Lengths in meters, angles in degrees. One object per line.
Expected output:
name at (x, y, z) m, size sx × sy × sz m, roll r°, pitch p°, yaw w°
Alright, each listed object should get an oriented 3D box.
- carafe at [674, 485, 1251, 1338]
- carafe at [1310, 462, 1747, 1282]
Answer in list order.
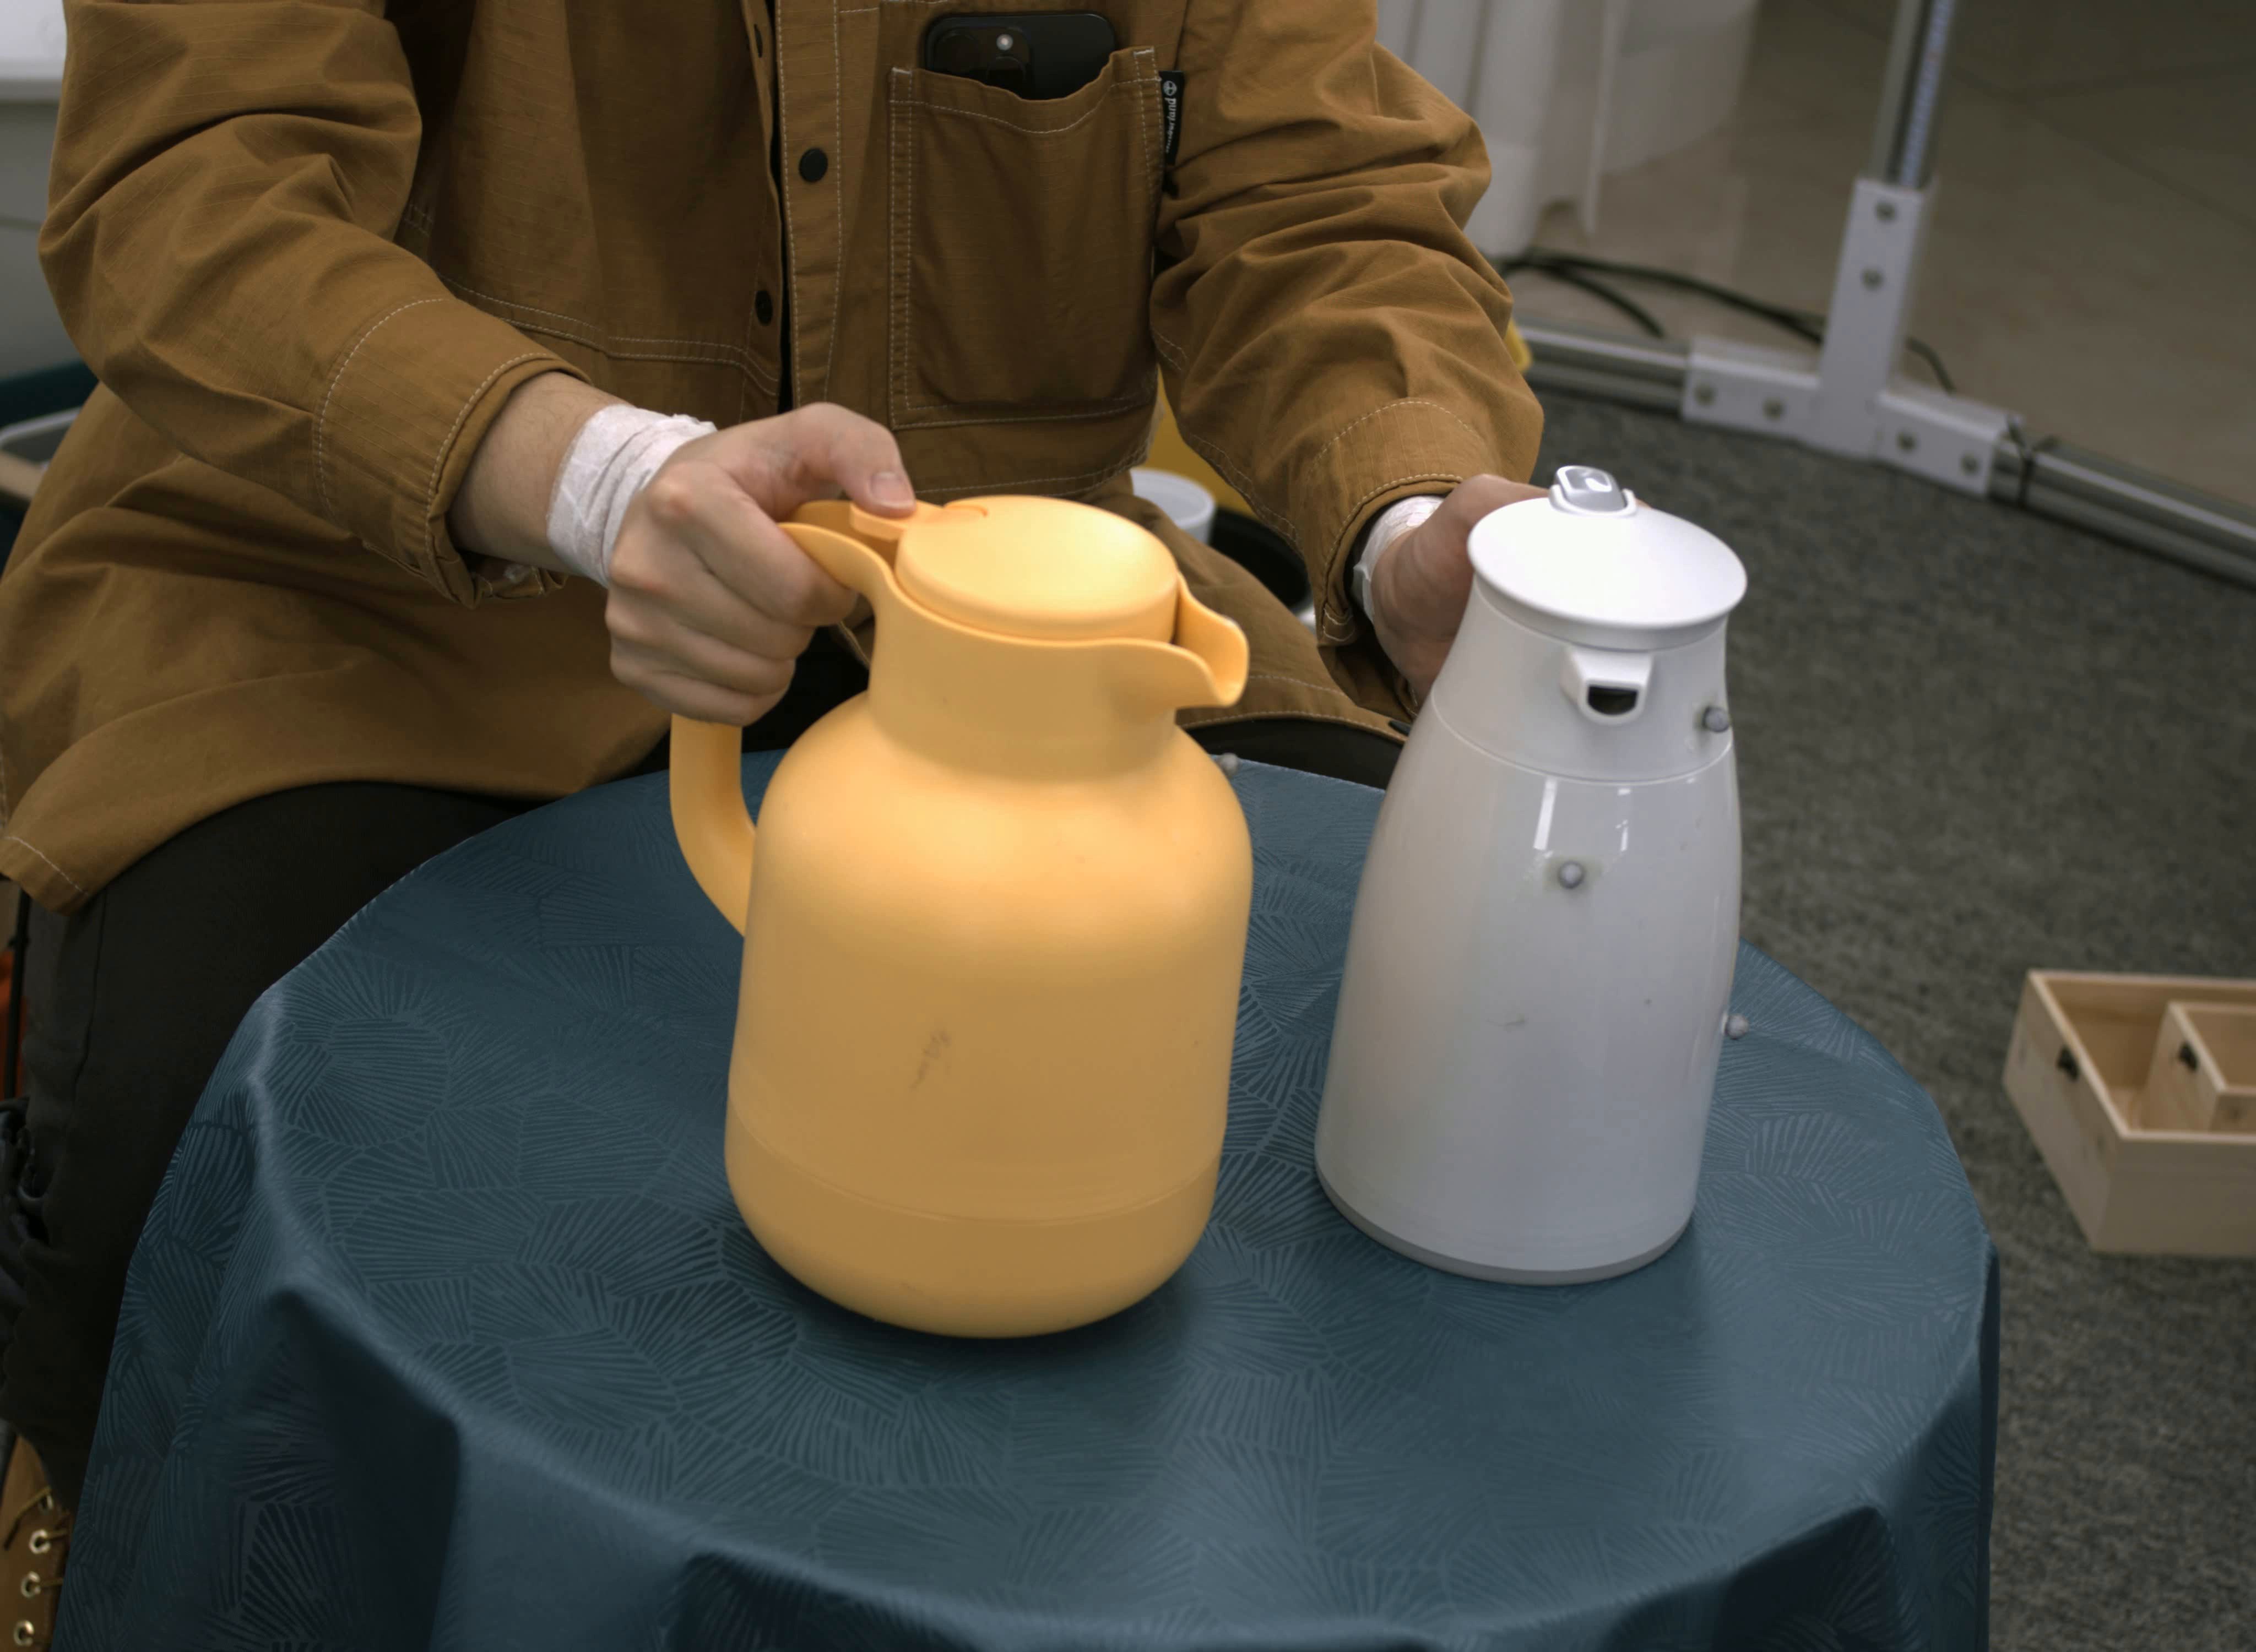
carafe at (-0.058, 0.017, 1.716) m, size 0.203 × 0.260 × 0.163 m, roll 22°, pitch 28°, yaw 26°
carafe at (0.140, 0.004, 1.793) m, size 0.132 × 0.248 × 0.169 m, roll 5°, pitch 27°, yaw -3°
